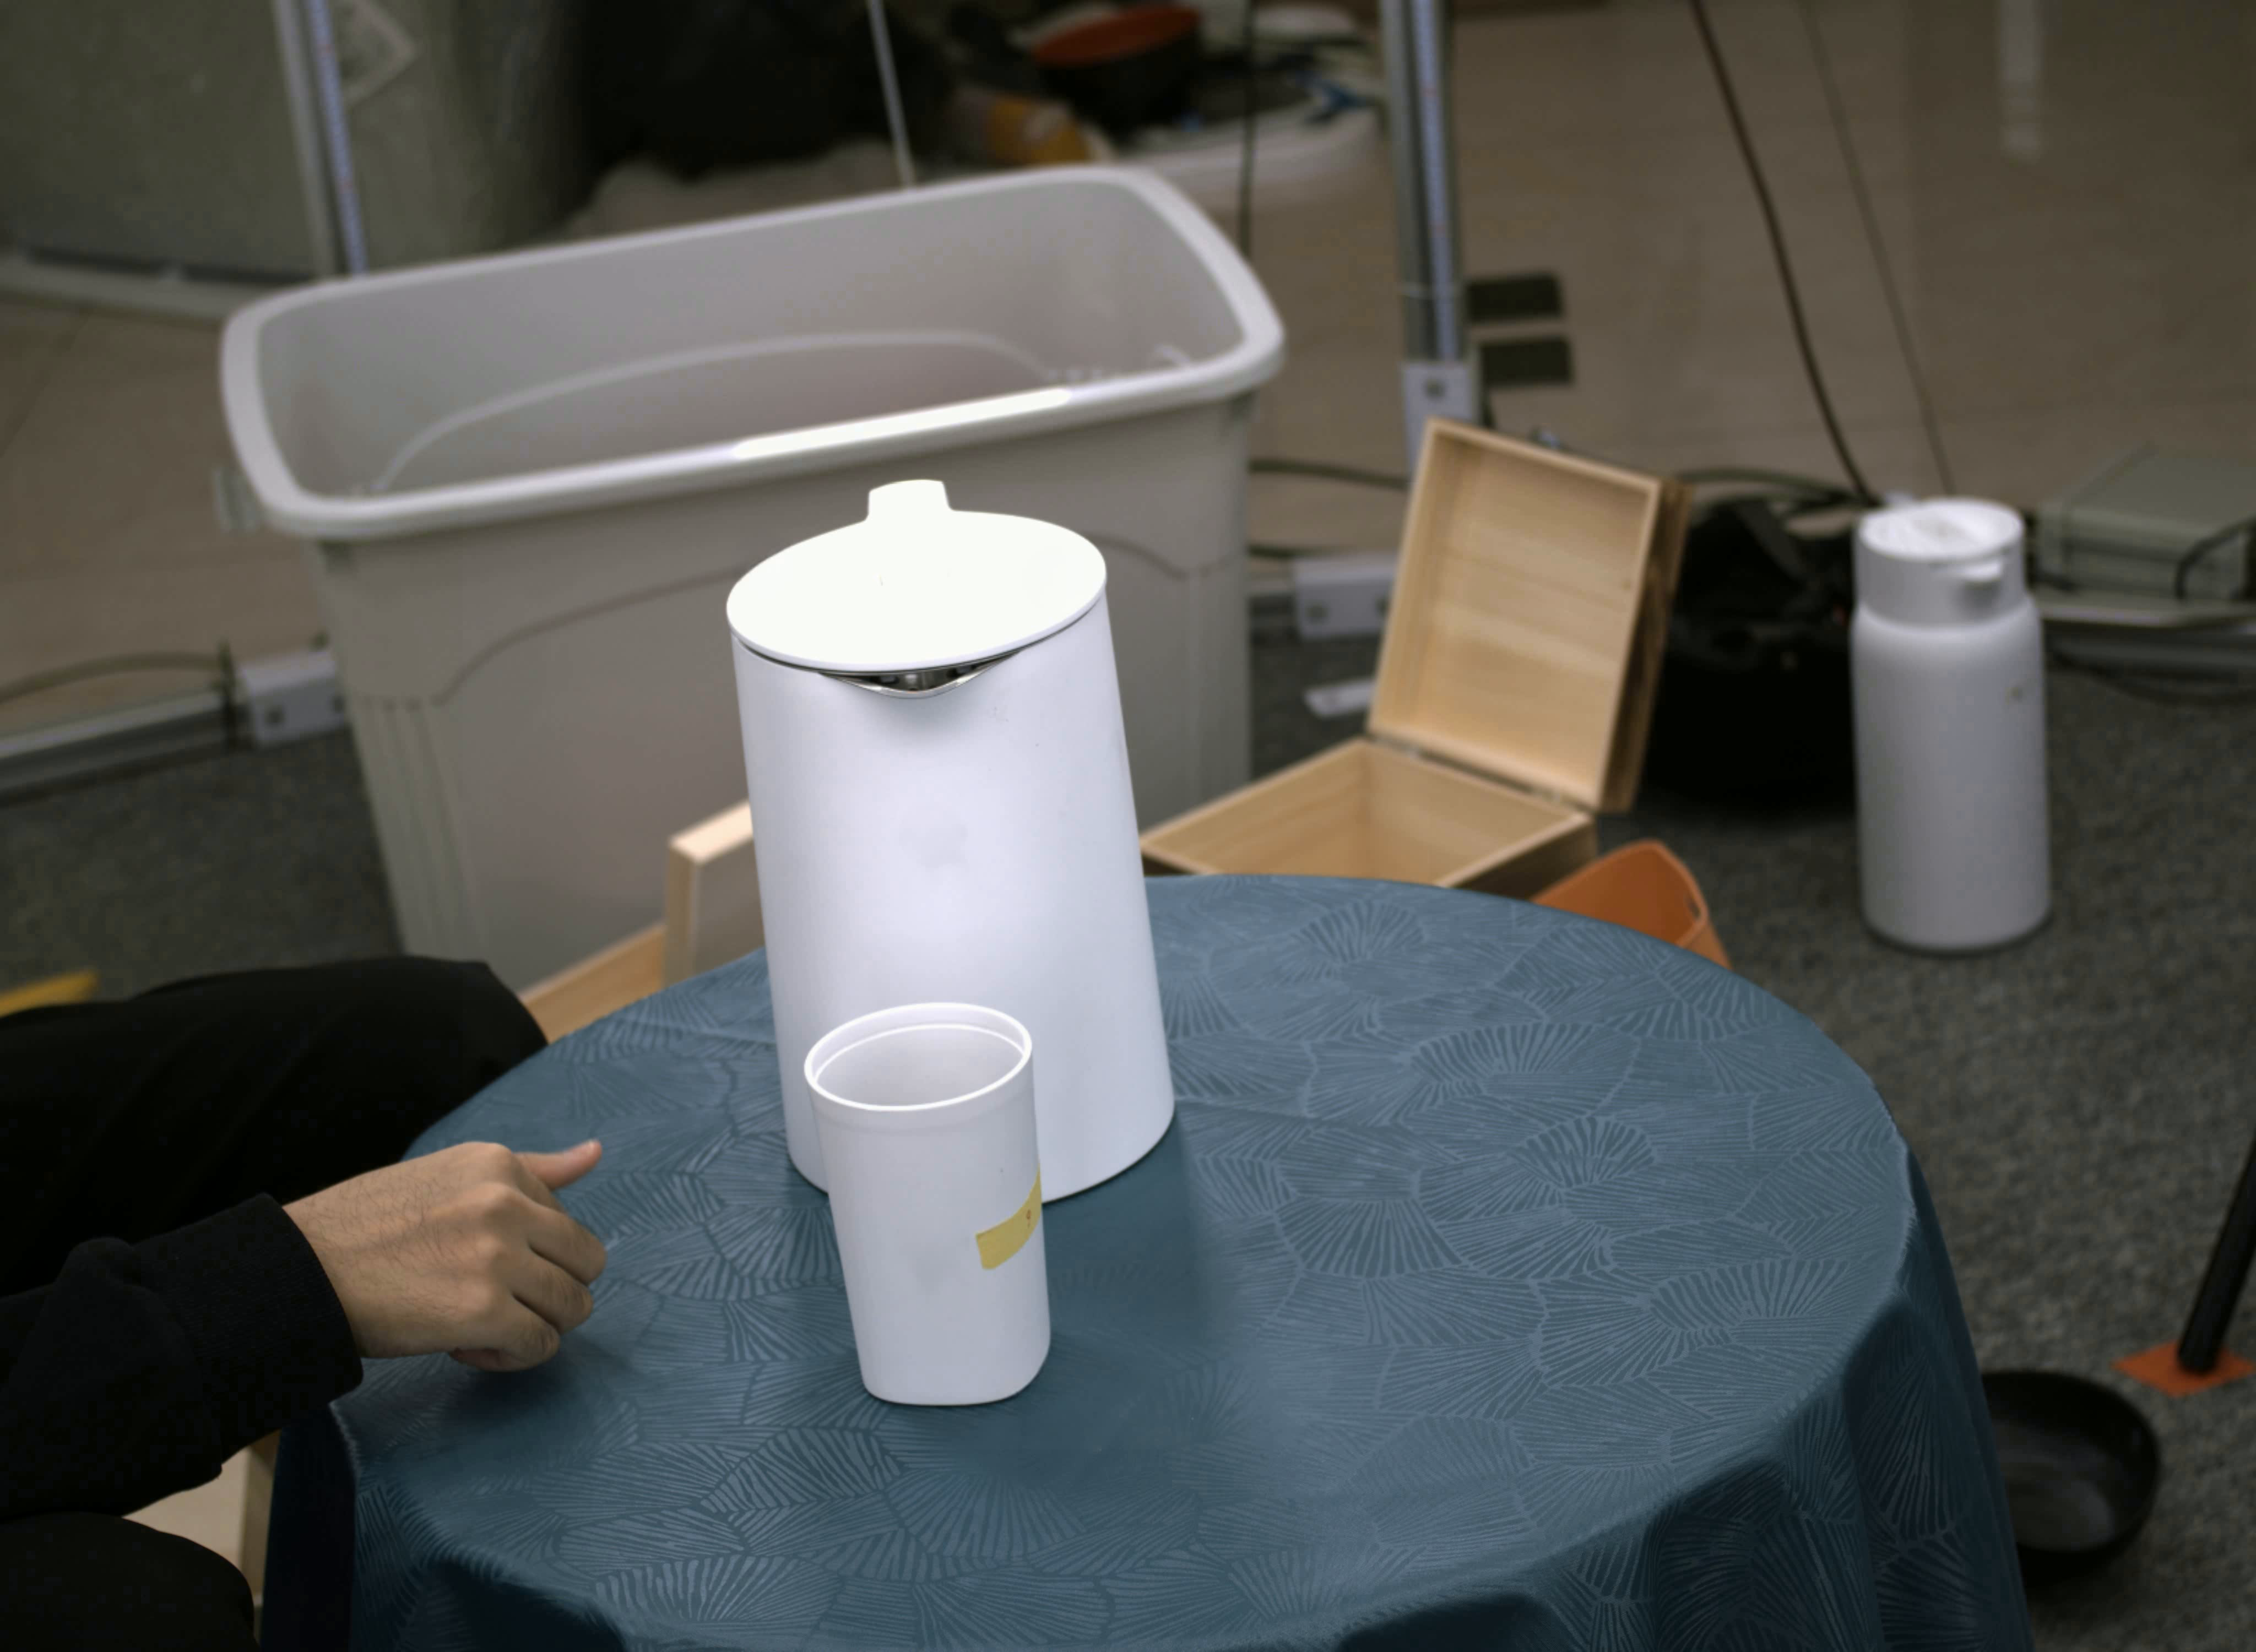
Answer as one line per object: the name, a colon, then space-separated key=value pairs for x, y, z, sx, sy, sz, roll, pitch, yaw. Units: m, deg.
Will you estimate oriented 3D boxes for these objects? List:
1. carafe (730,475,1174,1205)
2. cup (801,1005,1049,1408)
carafe: x=-0.068 y=0.001 z=2.177 sx=0.152 sy=0.244 sz=0.210 roll=-5 pitch=26 yaw=-1
cup: x=-0.068 y=0.137 z=2.016 sx=0.081 sy=0.127 sz=0.080 roll=-6 pitch=25 yaw=3
